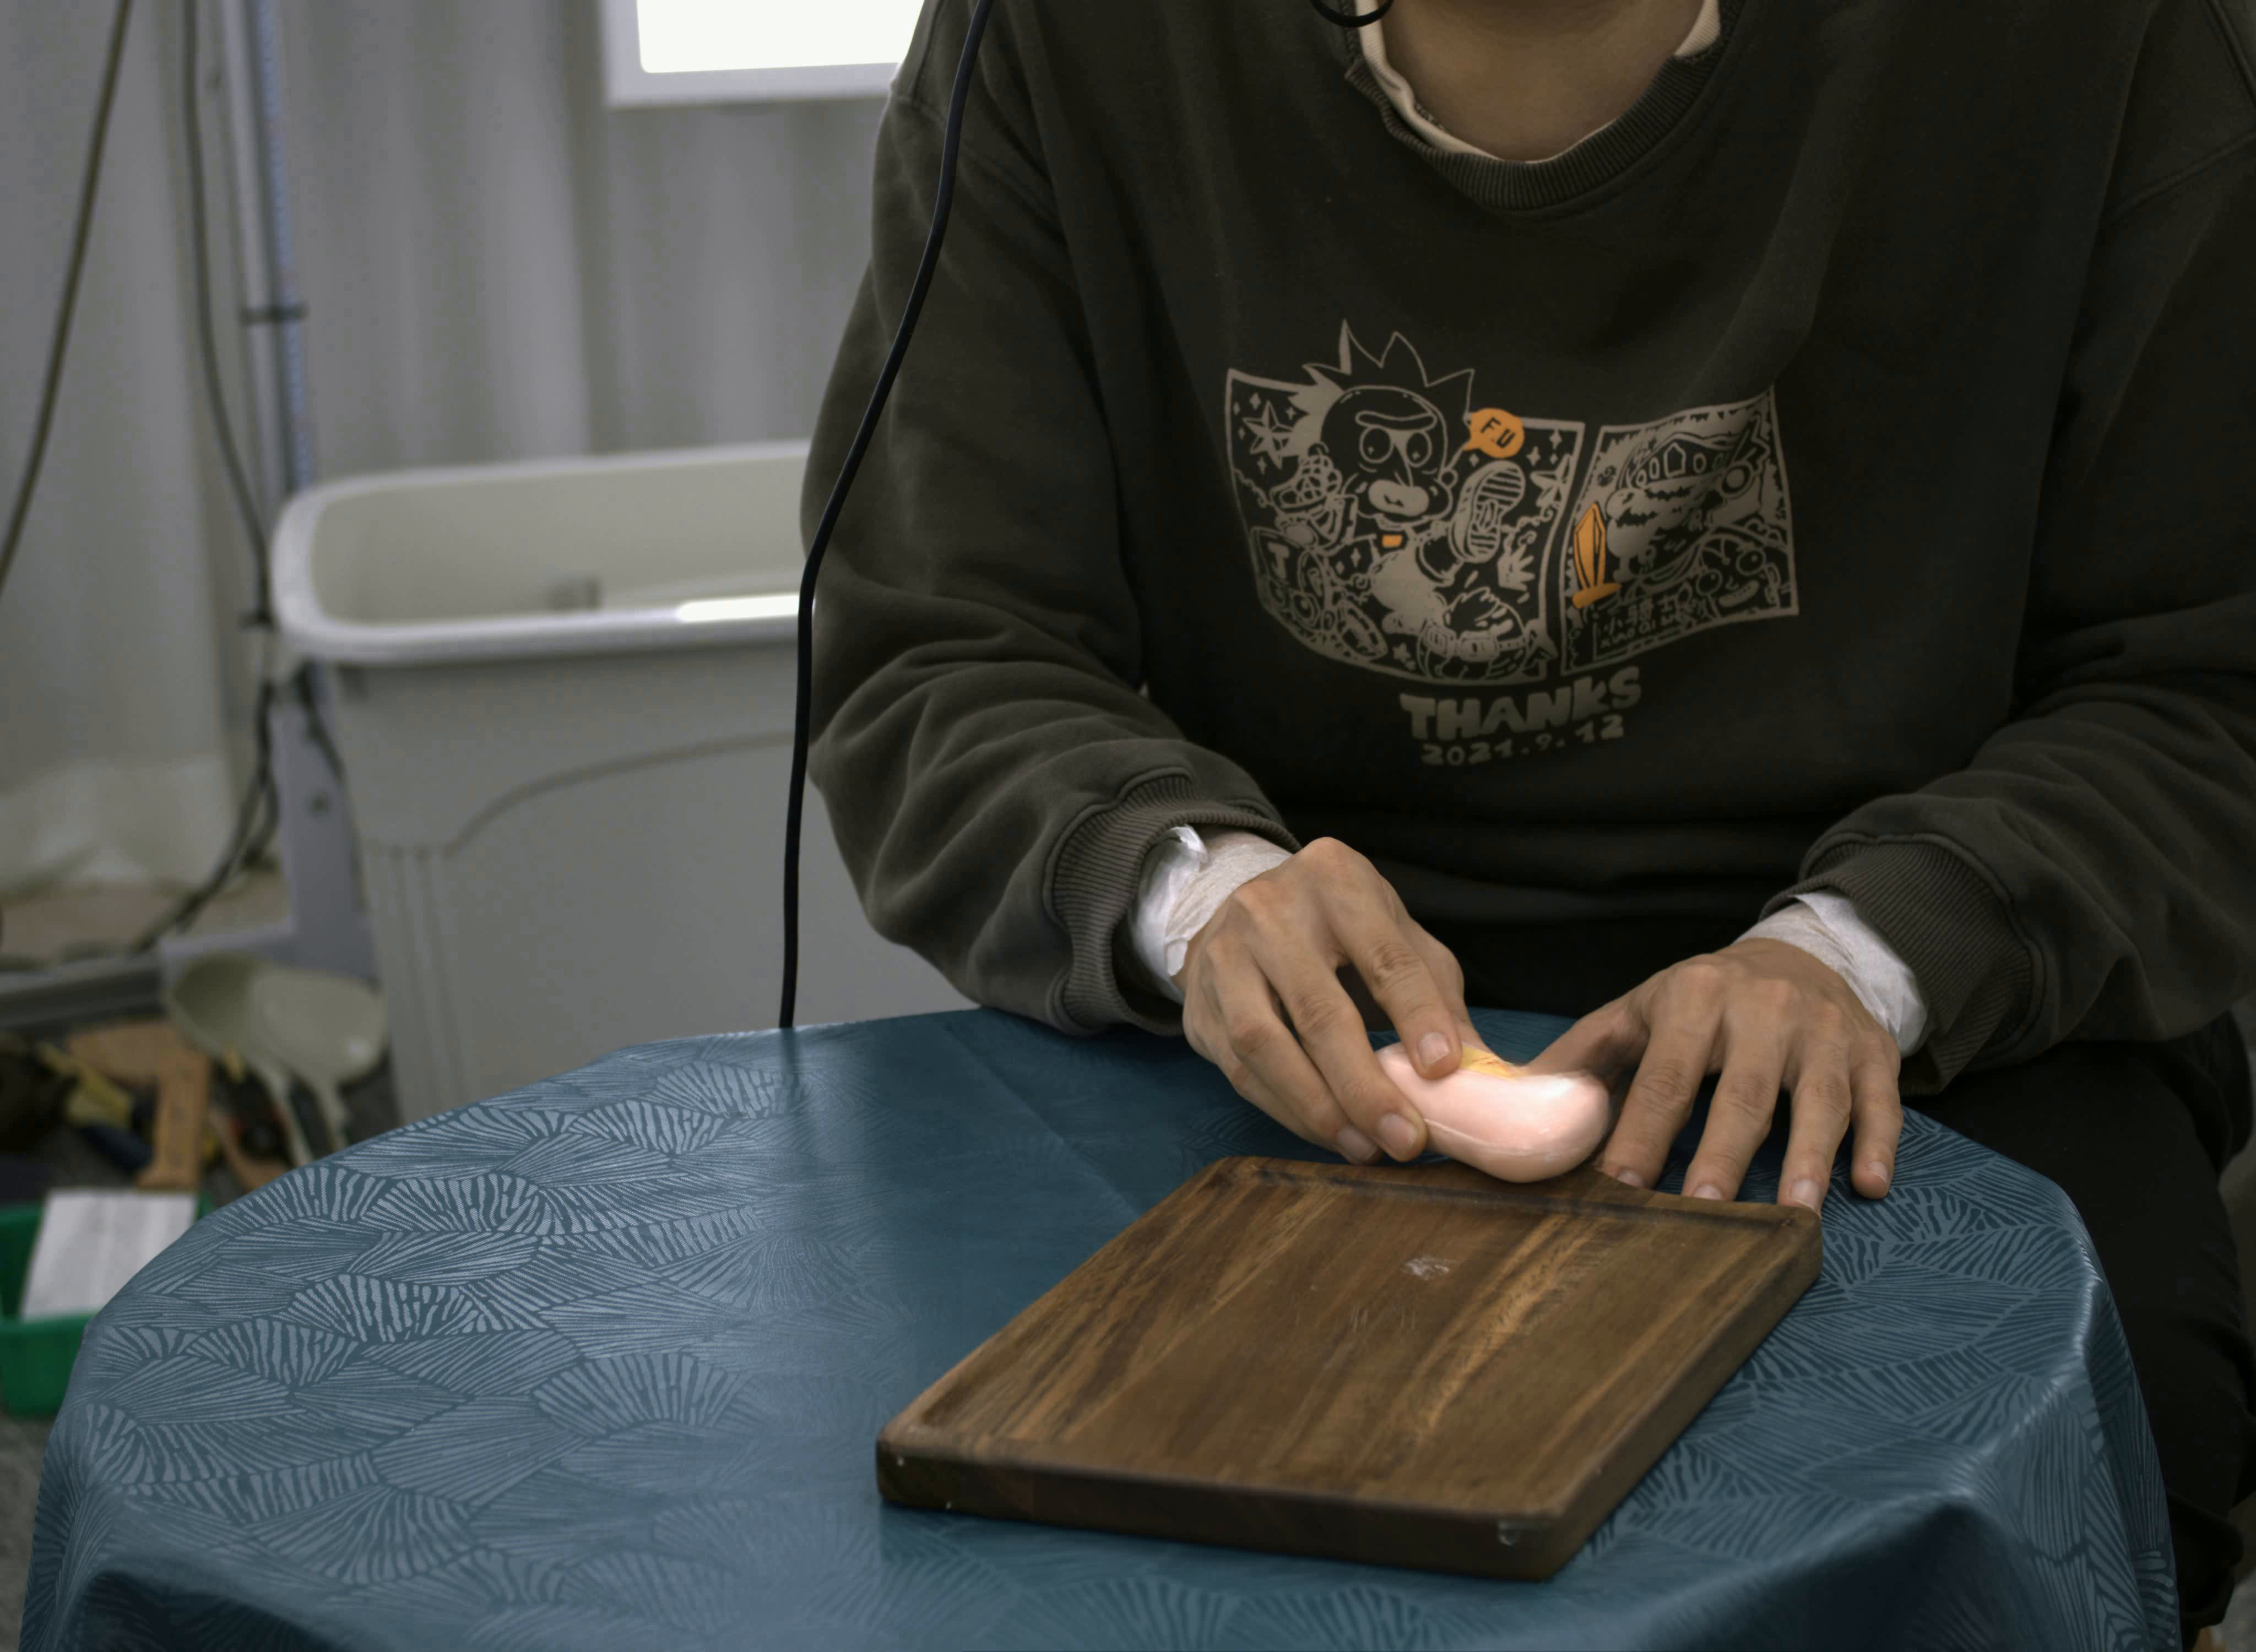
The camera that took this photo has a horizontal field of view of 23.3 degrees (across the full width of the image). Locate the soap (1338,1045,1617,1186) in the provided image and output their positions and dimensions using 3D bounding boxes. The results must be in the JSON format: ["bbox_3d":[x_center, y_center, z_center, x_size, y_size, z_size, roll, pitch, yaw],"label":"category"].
[{"bbox_3d":[0.106,0.088,1.674,0.050,0.030,0.095,-13,16,-36],"label":"soap"}]

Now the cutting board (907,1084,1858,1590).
[{"bbox_3d":[0.097,0.137,1.581,0.201,0.023,0.353,4,16,24],"label":"cutting board"}]
